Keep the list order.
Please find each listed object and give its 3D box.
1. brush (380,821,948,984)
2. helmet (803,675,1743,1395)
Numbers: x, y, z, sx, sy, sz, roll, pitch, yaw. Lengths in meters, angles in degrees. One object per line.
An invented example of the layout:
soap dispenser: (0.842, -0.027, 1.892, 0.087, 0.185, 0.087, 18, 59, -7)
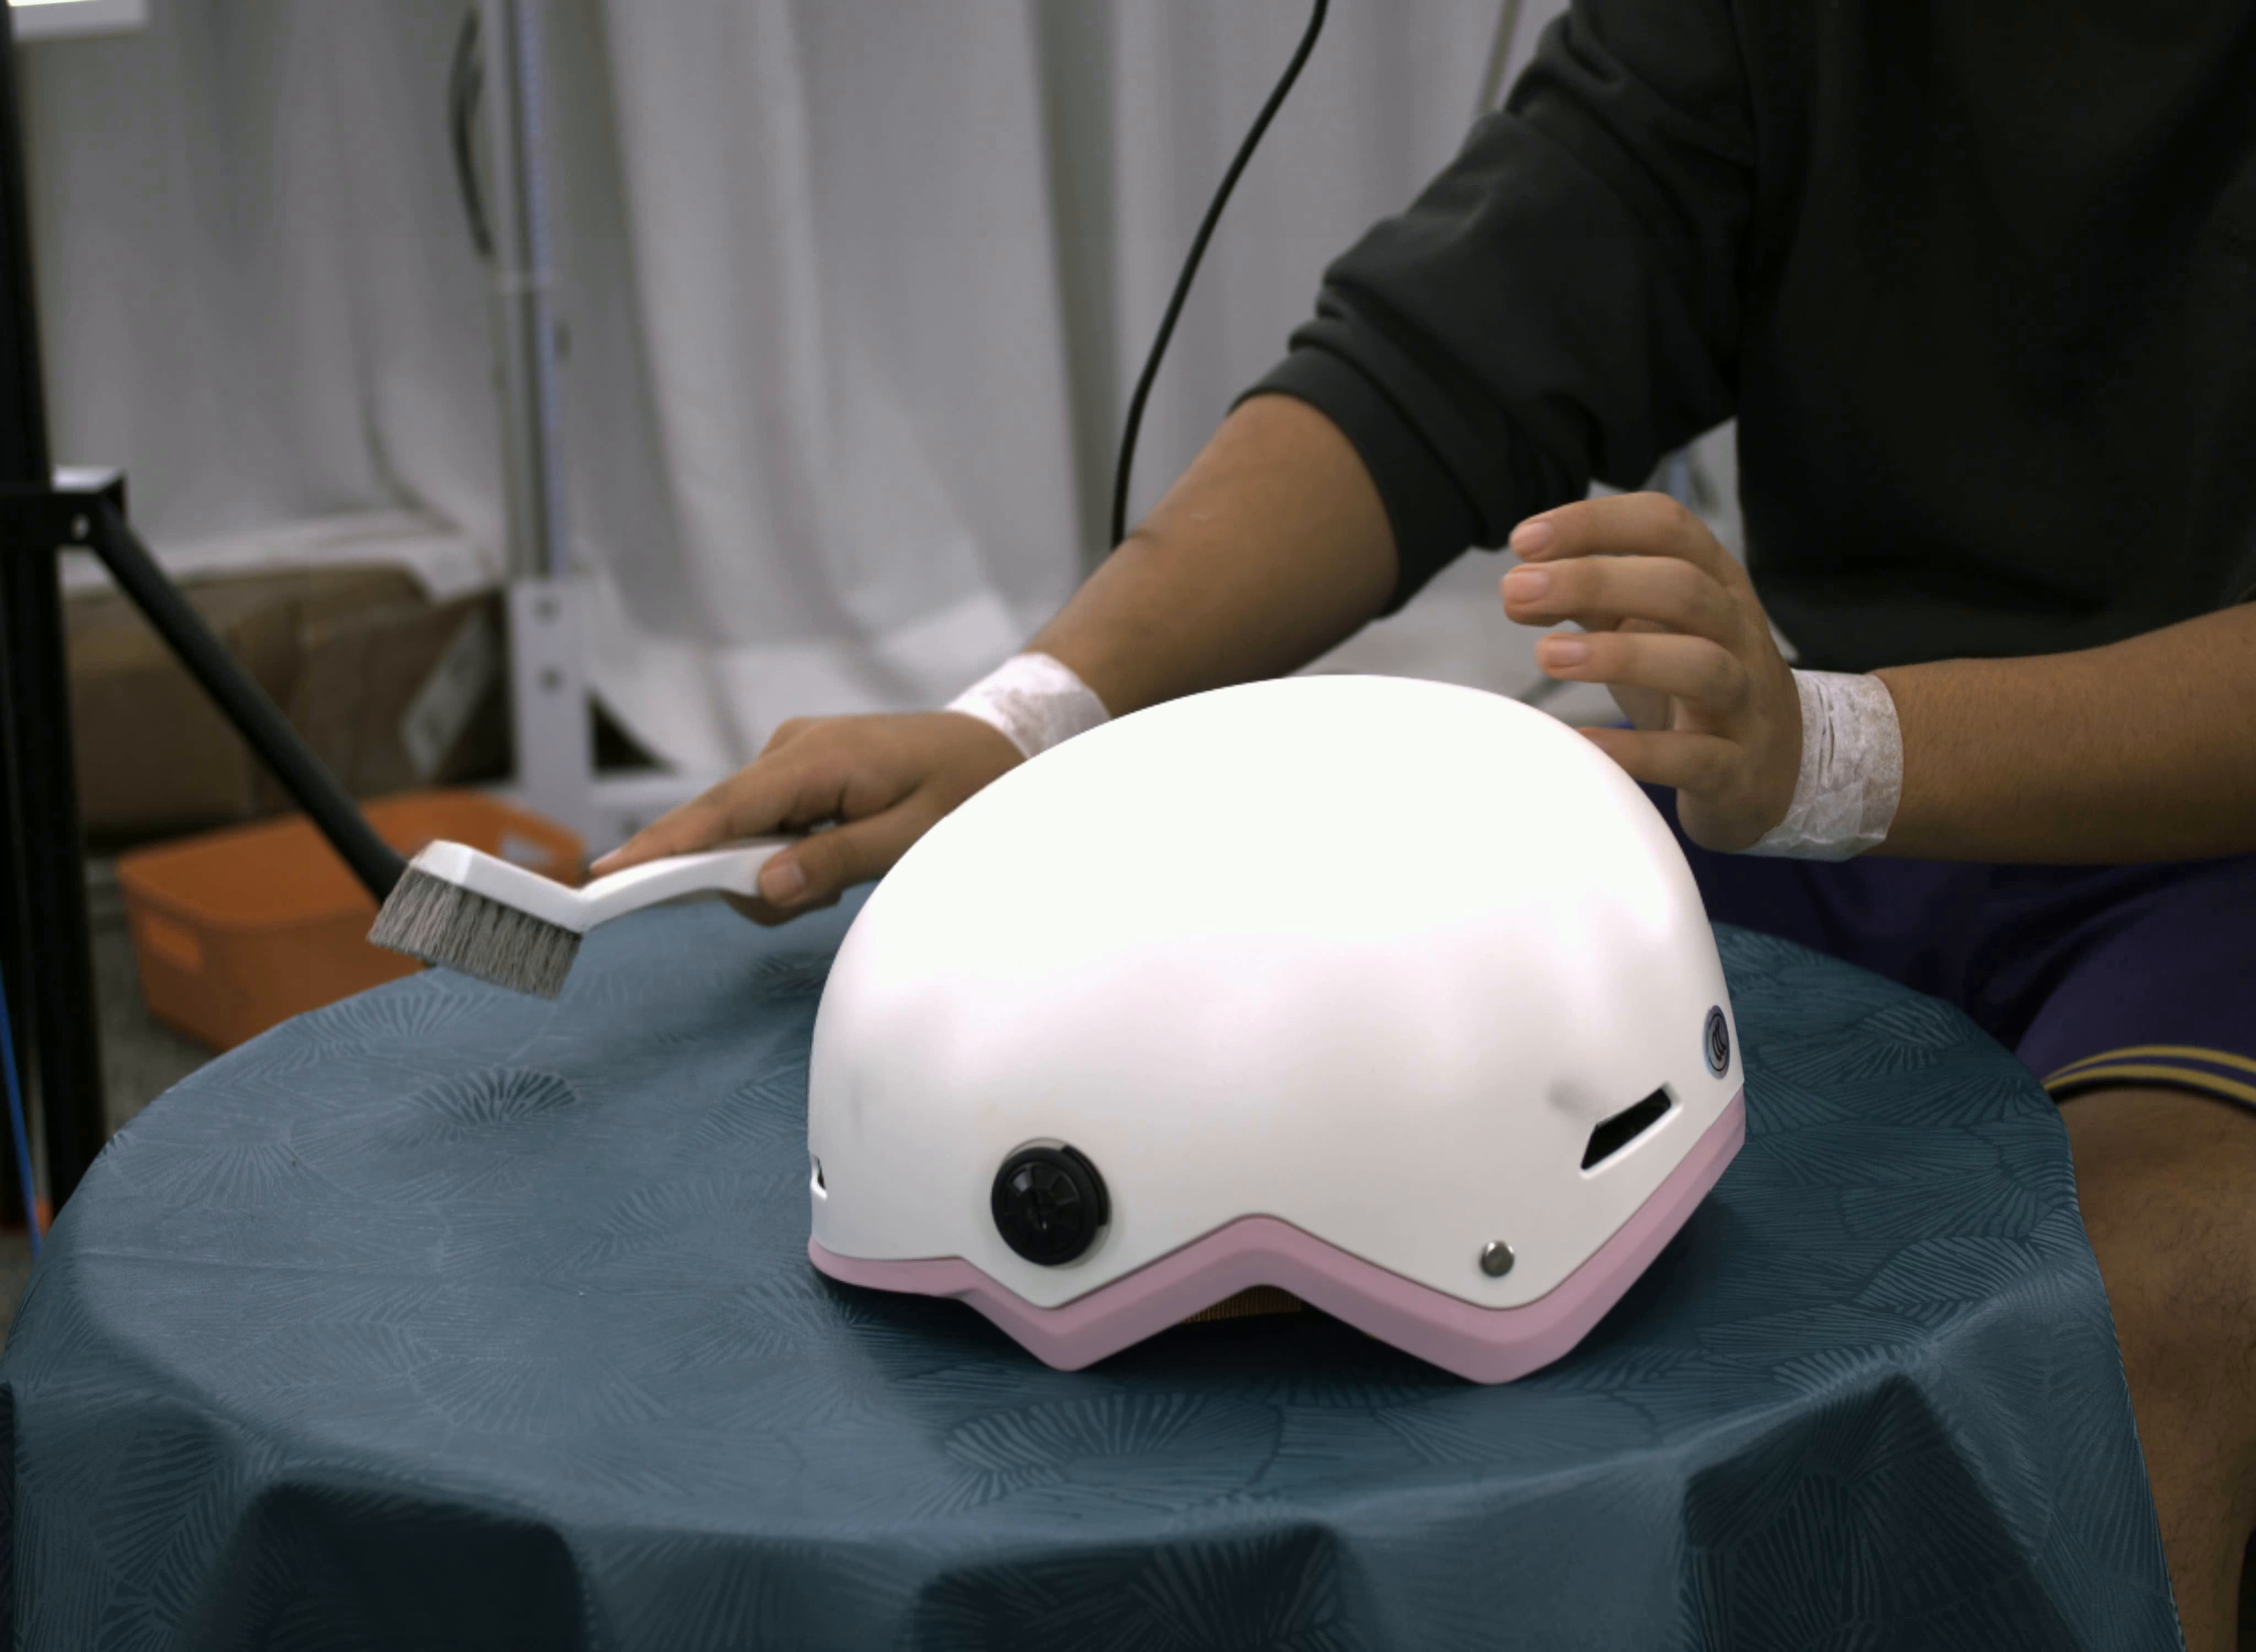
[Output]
brush: (-0.143, 0.025, 1.736, 0.035, 0.050, 0.237, 8, 5, 42)
helmet: (0.037, 0.043, 1.487, 0.272, 0.167, 0.234, 4, 17, 22)
